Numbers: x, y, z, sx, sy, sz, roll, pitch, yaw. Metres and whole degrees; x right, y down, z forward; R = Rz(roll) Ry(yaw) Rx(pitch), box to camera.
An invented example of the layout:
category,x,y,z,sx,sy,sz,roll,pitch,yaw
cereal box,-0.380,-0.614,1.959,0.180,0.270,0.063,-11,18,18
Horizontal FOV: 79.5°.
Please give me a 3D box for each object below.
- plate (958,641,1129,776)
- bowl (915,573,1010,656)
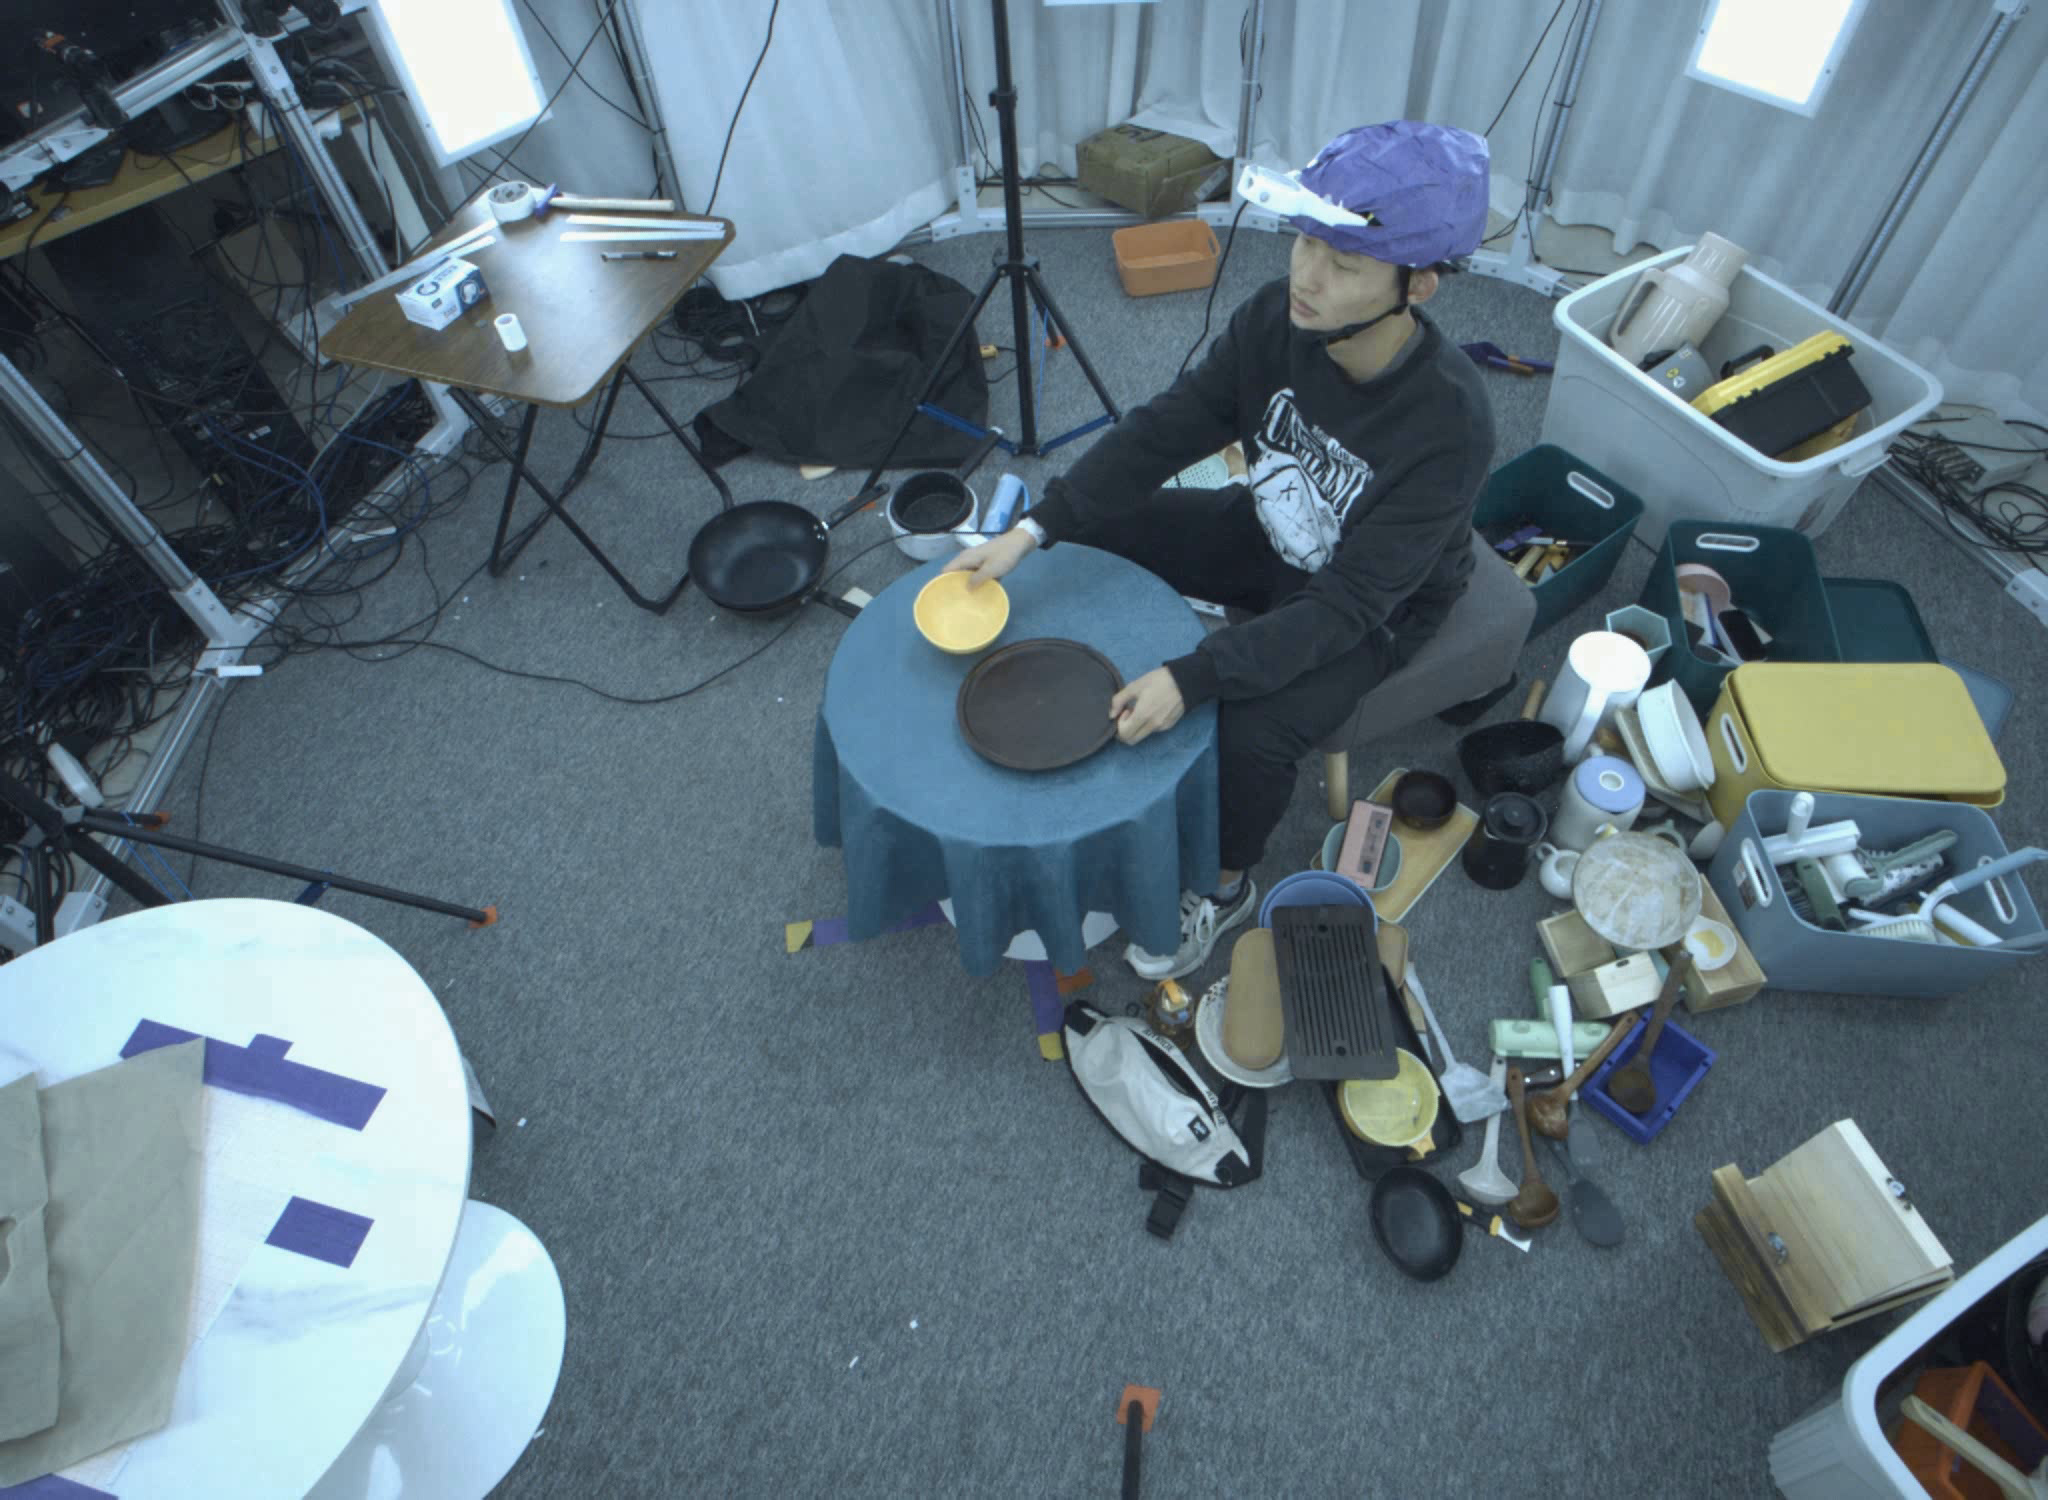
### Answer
category,x,y,z,sx,sy,sz,roll,pitch,yaw
plate,0.029,-0.063,1.820,0.254,0.029,0.252,-2,52,4
bowl,-0.093,-0.197,1.885,0.145,0.060,0.144,1,64,-1
